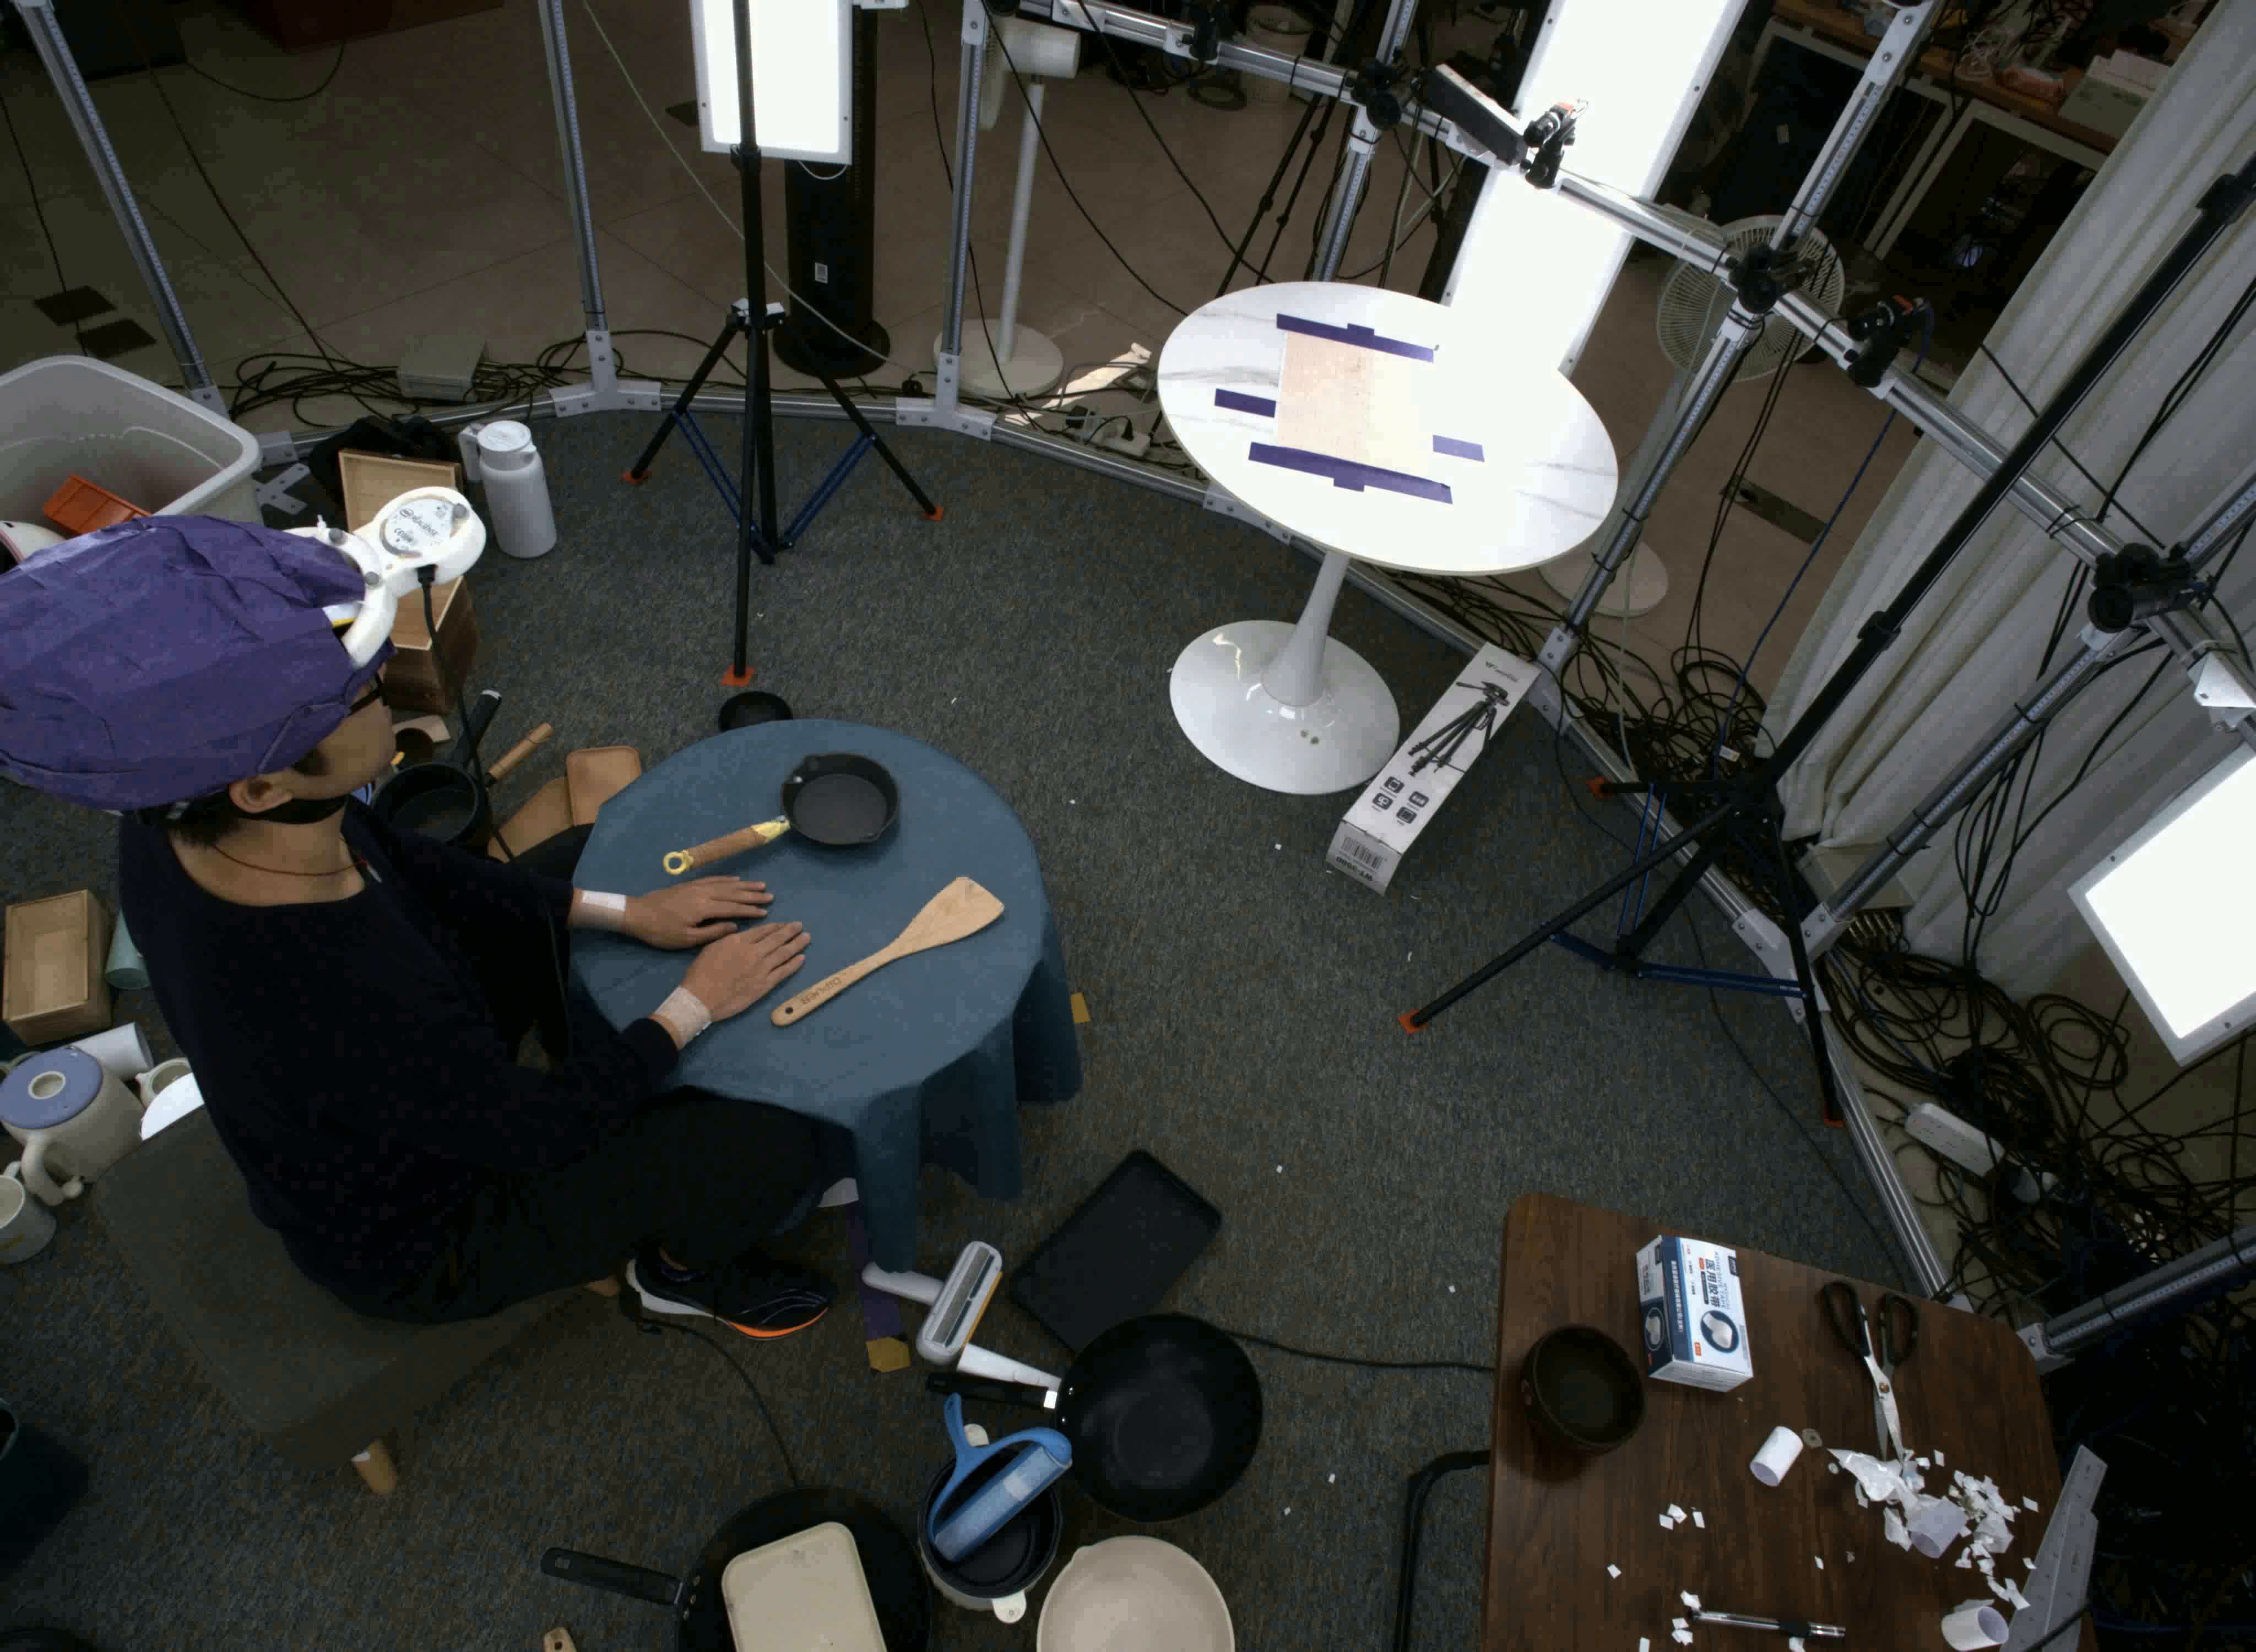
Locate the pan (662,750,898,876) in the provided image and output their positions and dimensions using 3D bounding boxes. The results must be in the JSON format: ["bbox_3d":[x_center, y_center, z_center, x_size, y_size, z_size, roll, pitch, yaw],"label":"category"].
[{"bbox_3d":[-0.450,-0.004,1.677,0.326,0.050,0.165,-25,63,-31],"label":"pan"}]

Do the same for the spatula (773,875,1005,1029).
[{"bbox_3d":[-0.300,0.156,1.619,0.329,0.017,0.078,-32,66,-32],"label":"spatula"}]
